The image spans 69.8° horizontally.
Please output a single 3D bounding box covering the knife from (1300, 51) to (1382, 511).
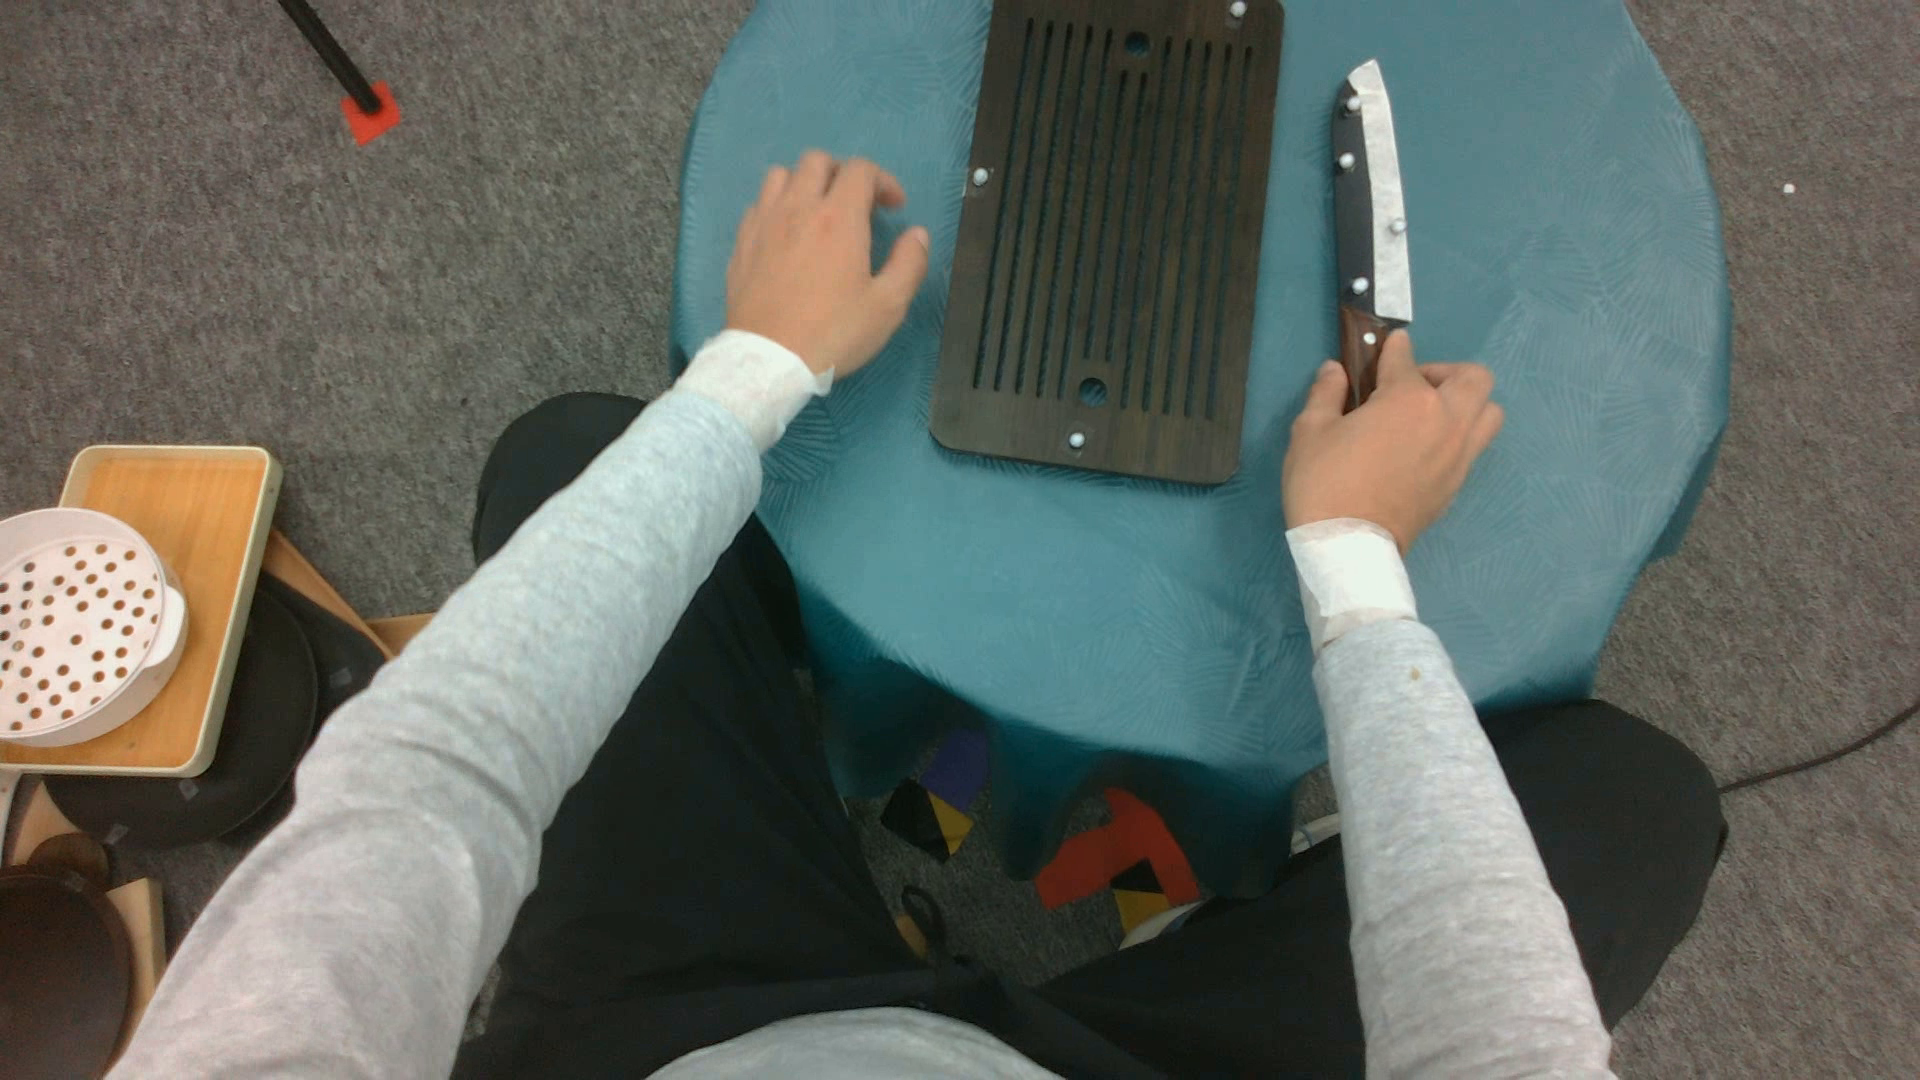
[{"bbox_3d":[0.216,-0.154,0.777,0.050,0.020,0.290,8,72,-15],"label":"knife"}]

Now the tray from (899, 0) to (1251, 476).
[{"bbox_3d":[0.069,-0.189,0.781,0.170,0.018,0.306,8,75,0],"label":"tray"}]
